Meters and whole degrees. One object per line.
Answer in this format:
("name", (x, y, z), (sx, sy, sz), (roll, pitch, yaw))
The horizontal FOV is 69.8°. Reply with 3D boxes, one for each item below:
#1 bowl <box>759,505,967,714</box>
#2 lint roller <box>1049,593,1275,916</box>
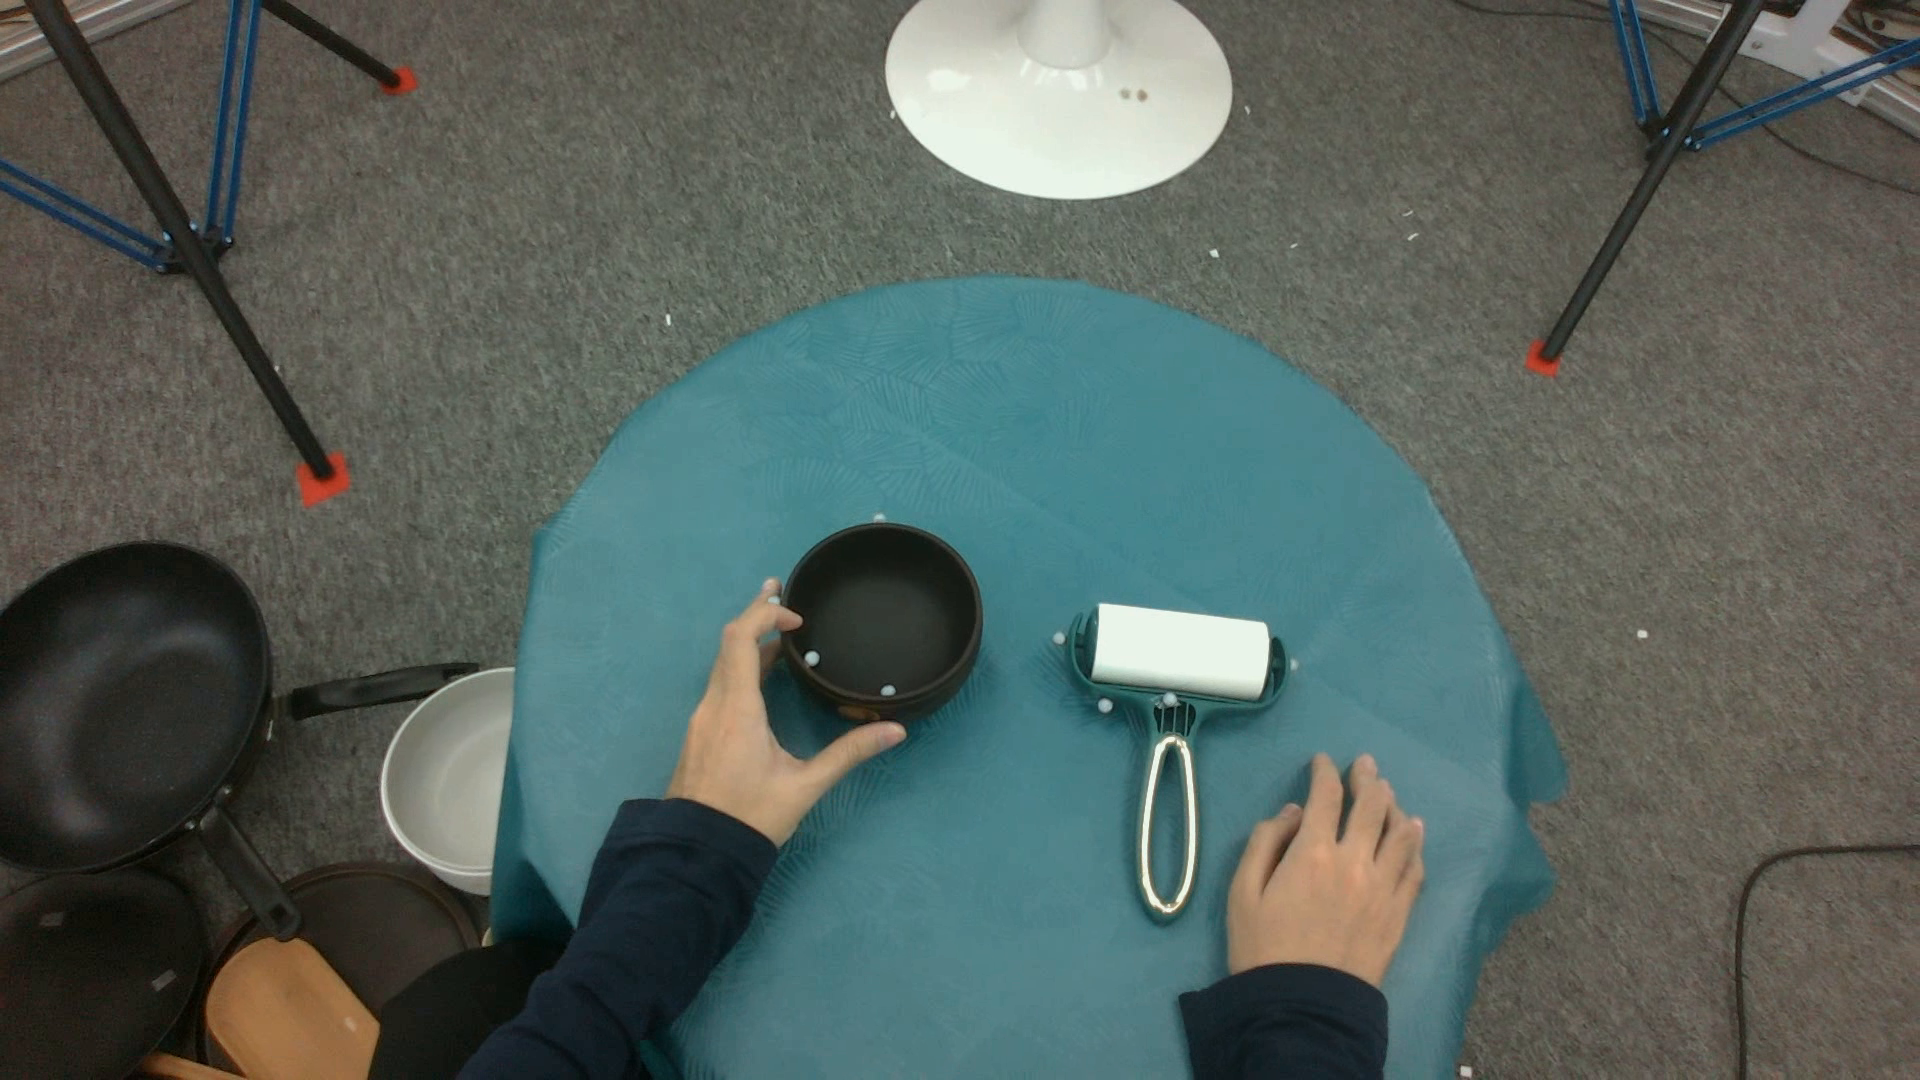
("bowl", (-0.056, 0.046, 0.795), (0.118, 0.069, 0.118), (3, 60, -5))
("lint roller", (0.112, 0.118, 0.783), (0.134, 0.048, 0.181), (7, 61, -1))
